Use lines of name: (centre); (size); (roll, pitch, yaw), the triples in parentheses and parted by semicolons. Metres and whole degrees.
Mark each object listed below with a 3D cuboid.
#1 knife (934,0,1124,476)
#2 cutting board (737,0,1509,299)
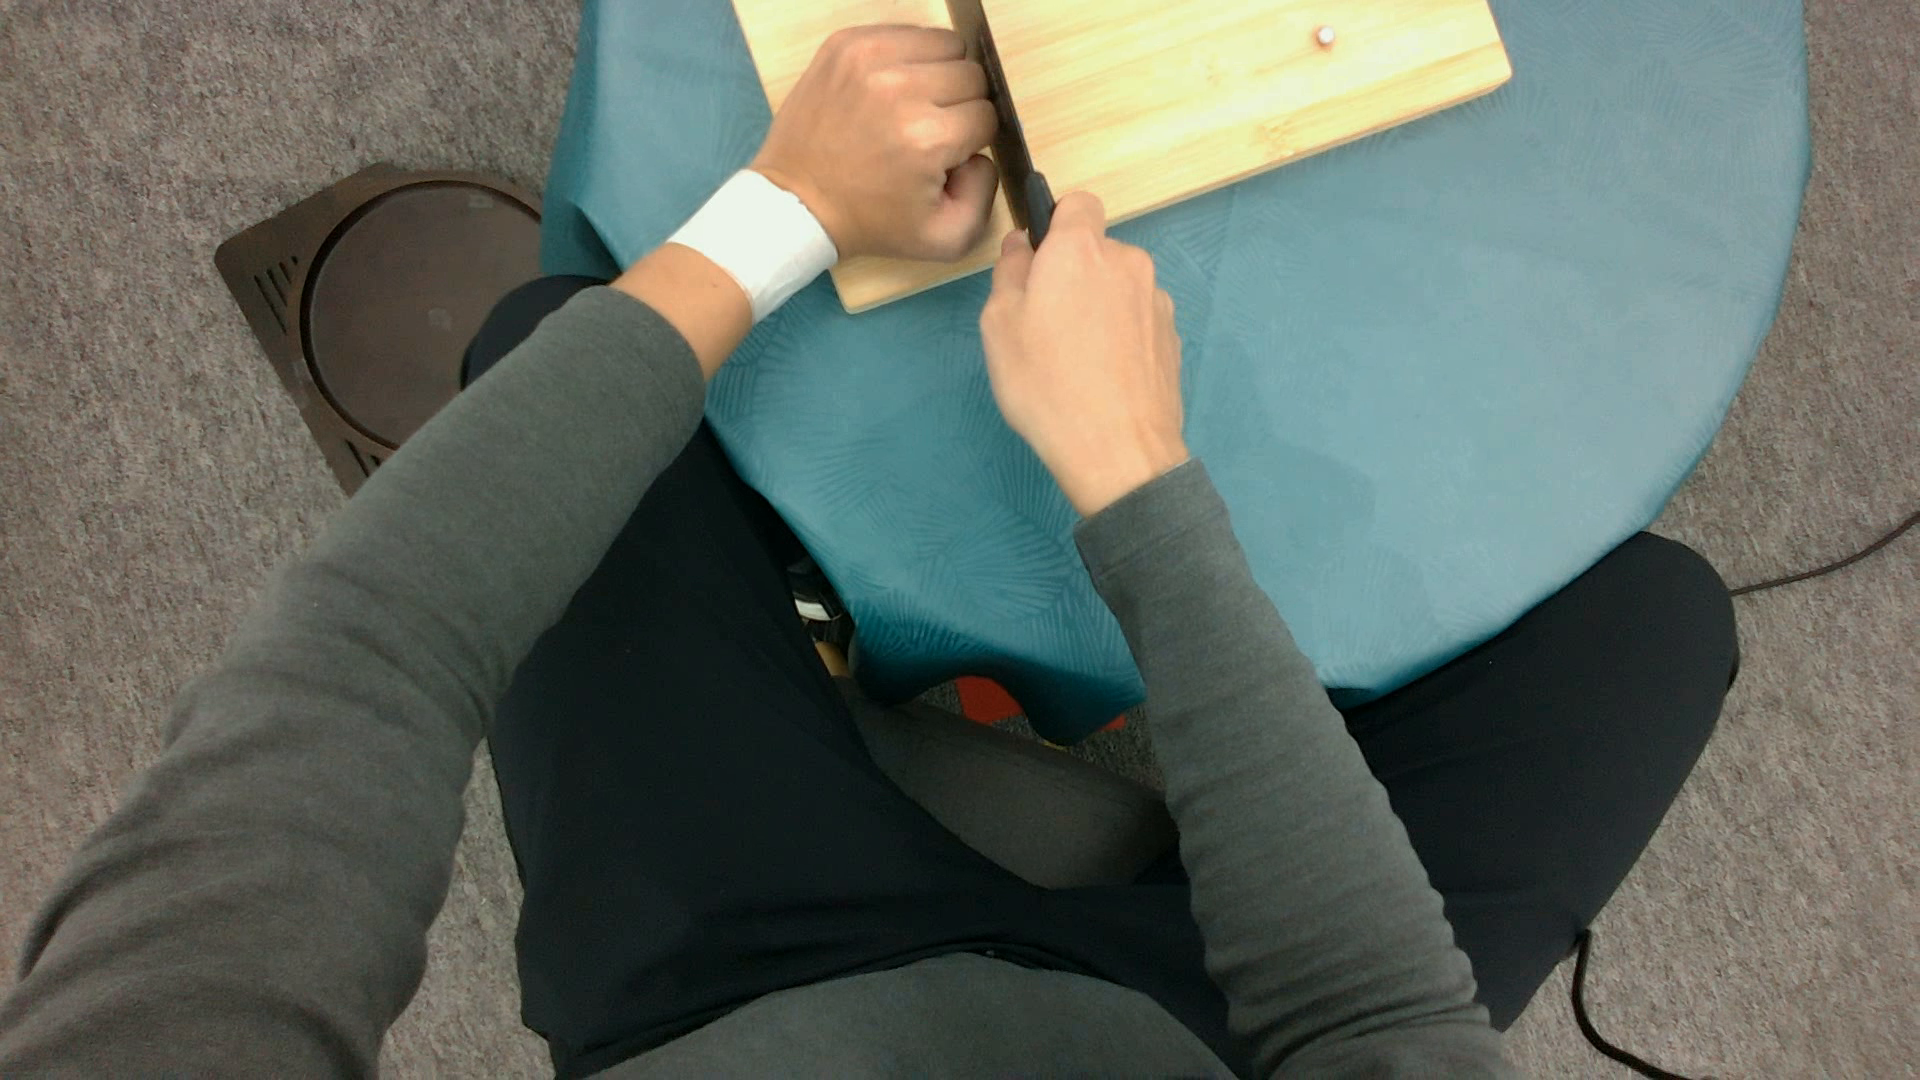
knife: (0.015, -0.173, 0.601); (0.021, 0.081, 0.302); (-17, 84, -7)
cutting board: (0.063, -0.283, 0.660); (0.349, 0.023, 0.250); (-21, 90, -5)
